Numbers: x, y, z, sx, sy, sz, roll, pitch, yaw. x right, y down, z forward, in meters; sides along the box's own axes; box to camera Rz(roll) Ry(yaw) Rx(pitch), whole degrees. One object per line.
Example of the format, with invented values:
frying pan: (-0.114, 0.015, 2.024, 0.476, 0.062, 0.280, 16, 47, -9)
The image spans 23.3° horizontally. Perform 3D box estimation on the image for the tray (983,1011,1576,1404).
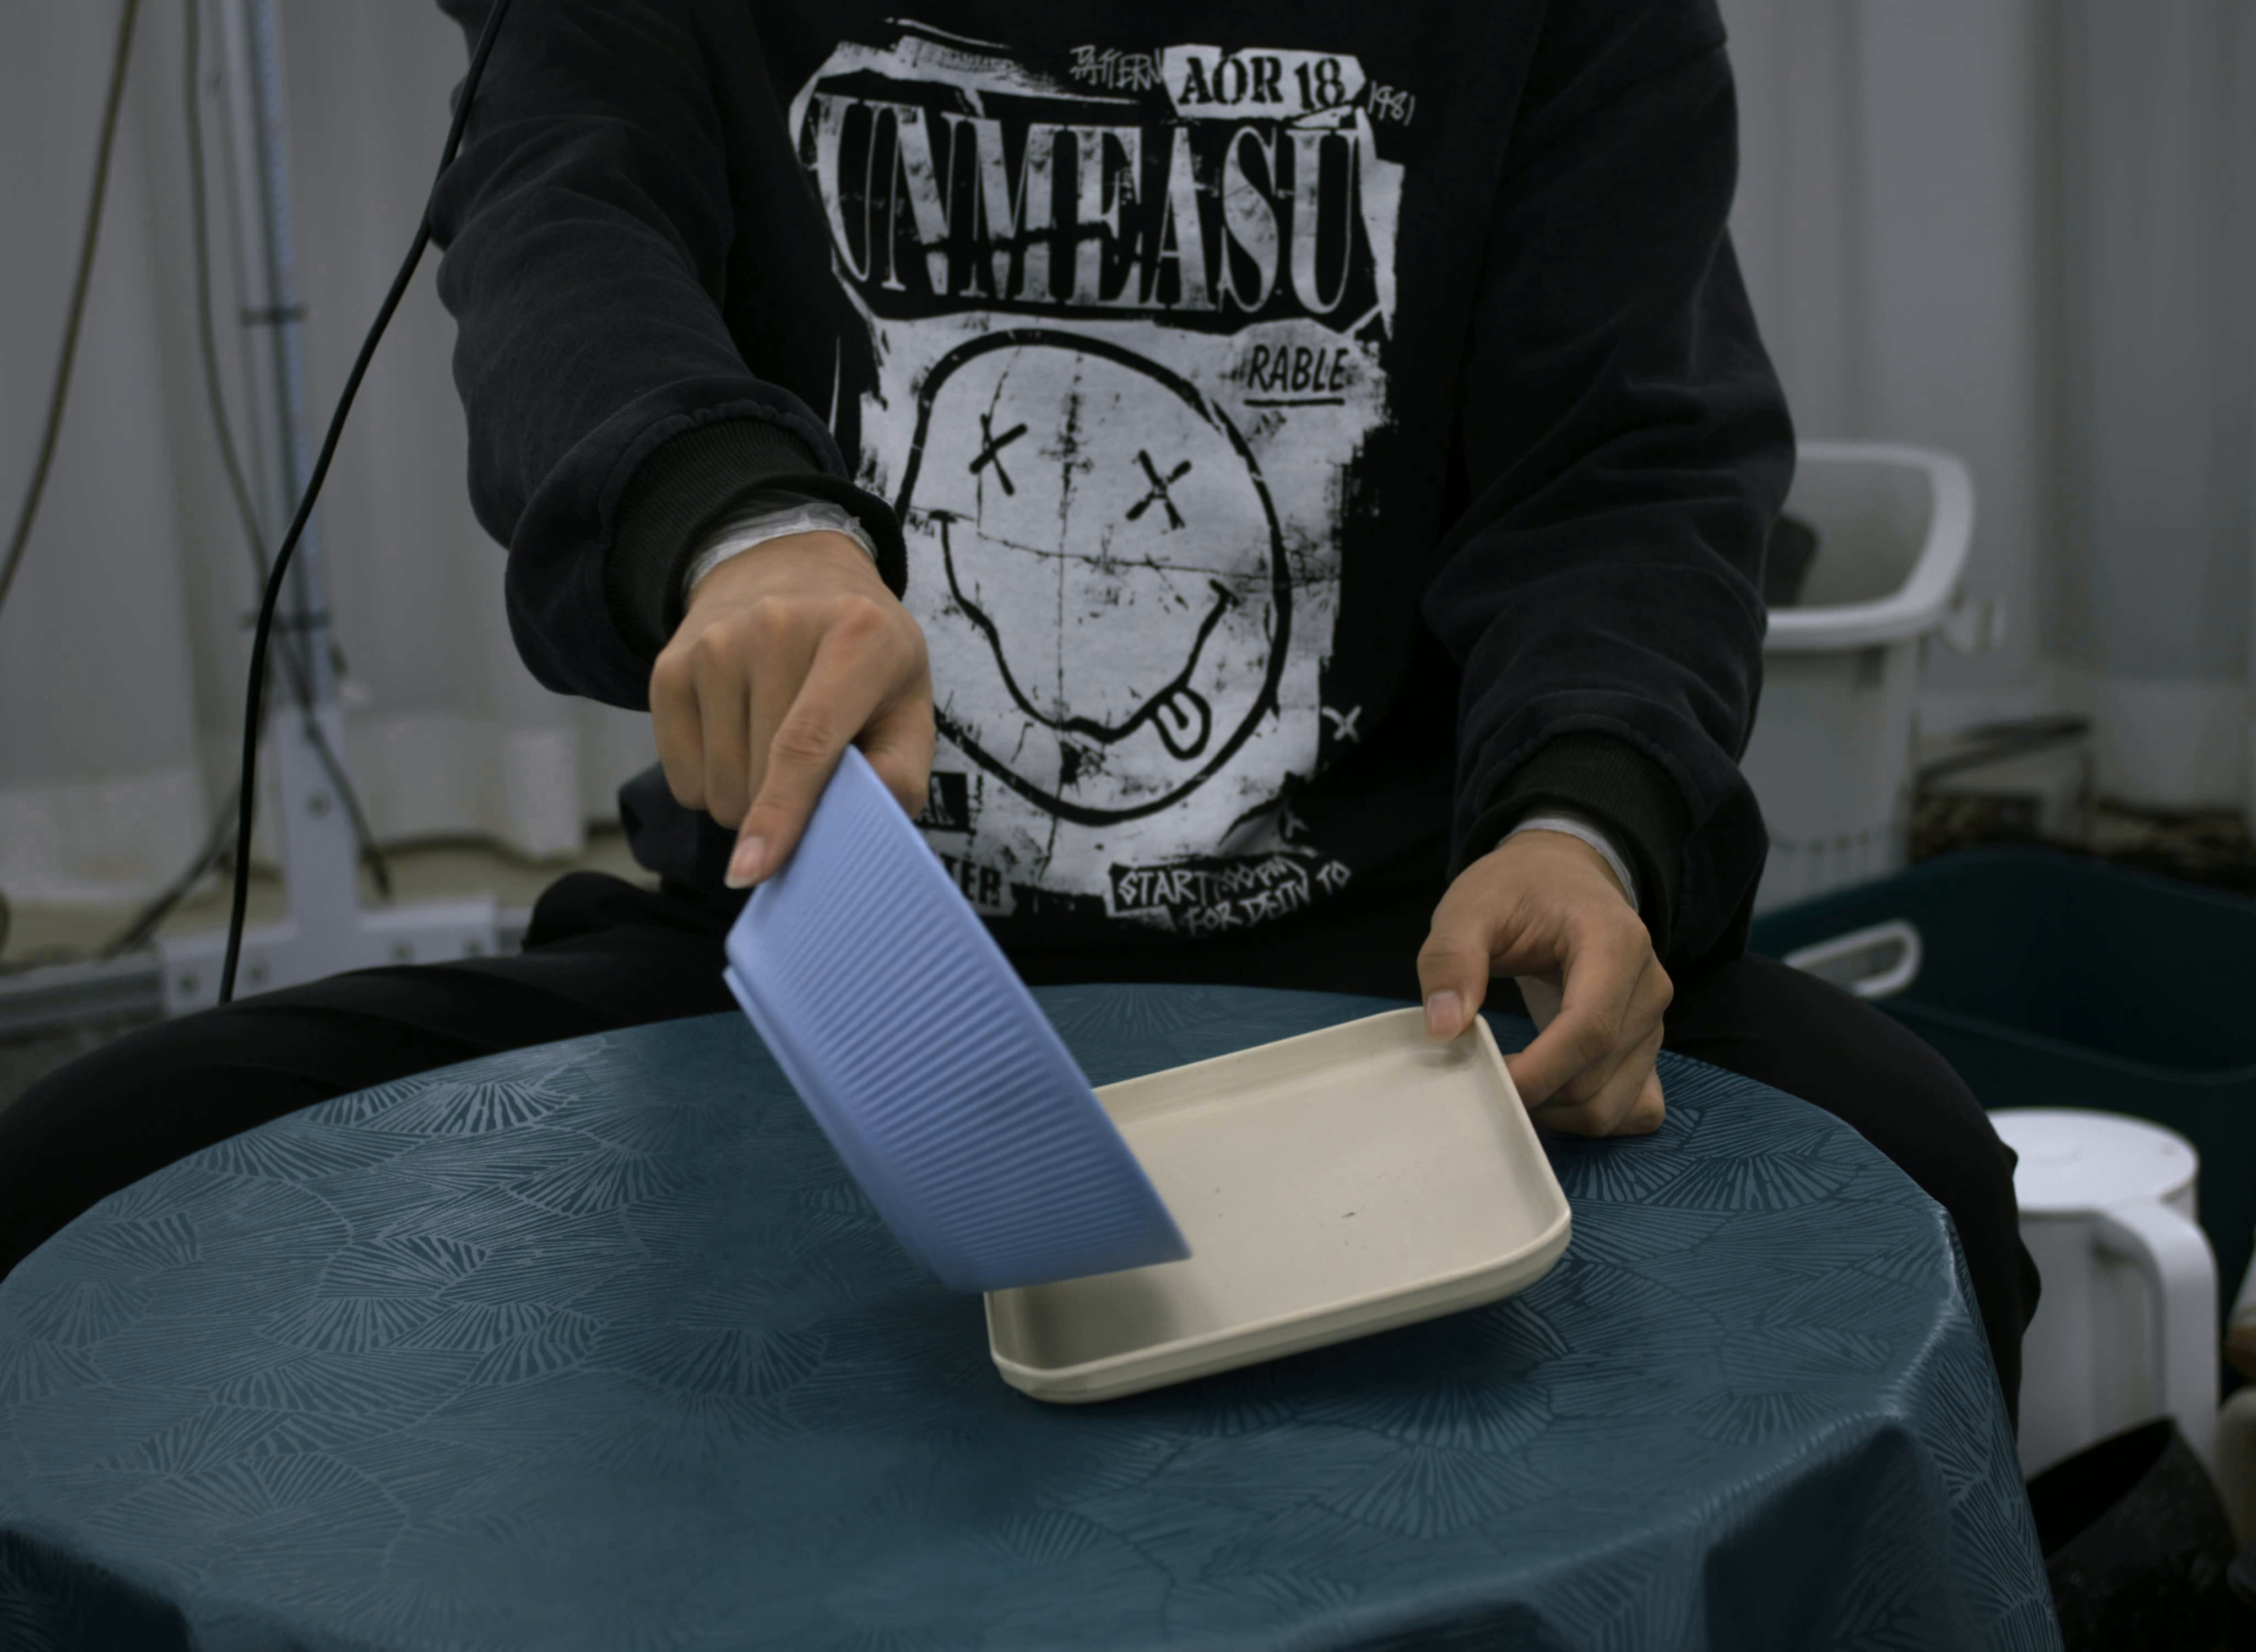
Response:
tray: (0.039, 0.112, 1.632, 0.171, 0.017, 0.241, -14, 16, 0)

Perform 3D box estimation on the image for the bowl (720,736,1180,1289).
bowl: (-0.059, 0.065, 1.555, 0.070, 0.175, 0.177, -32, 18, -4)
